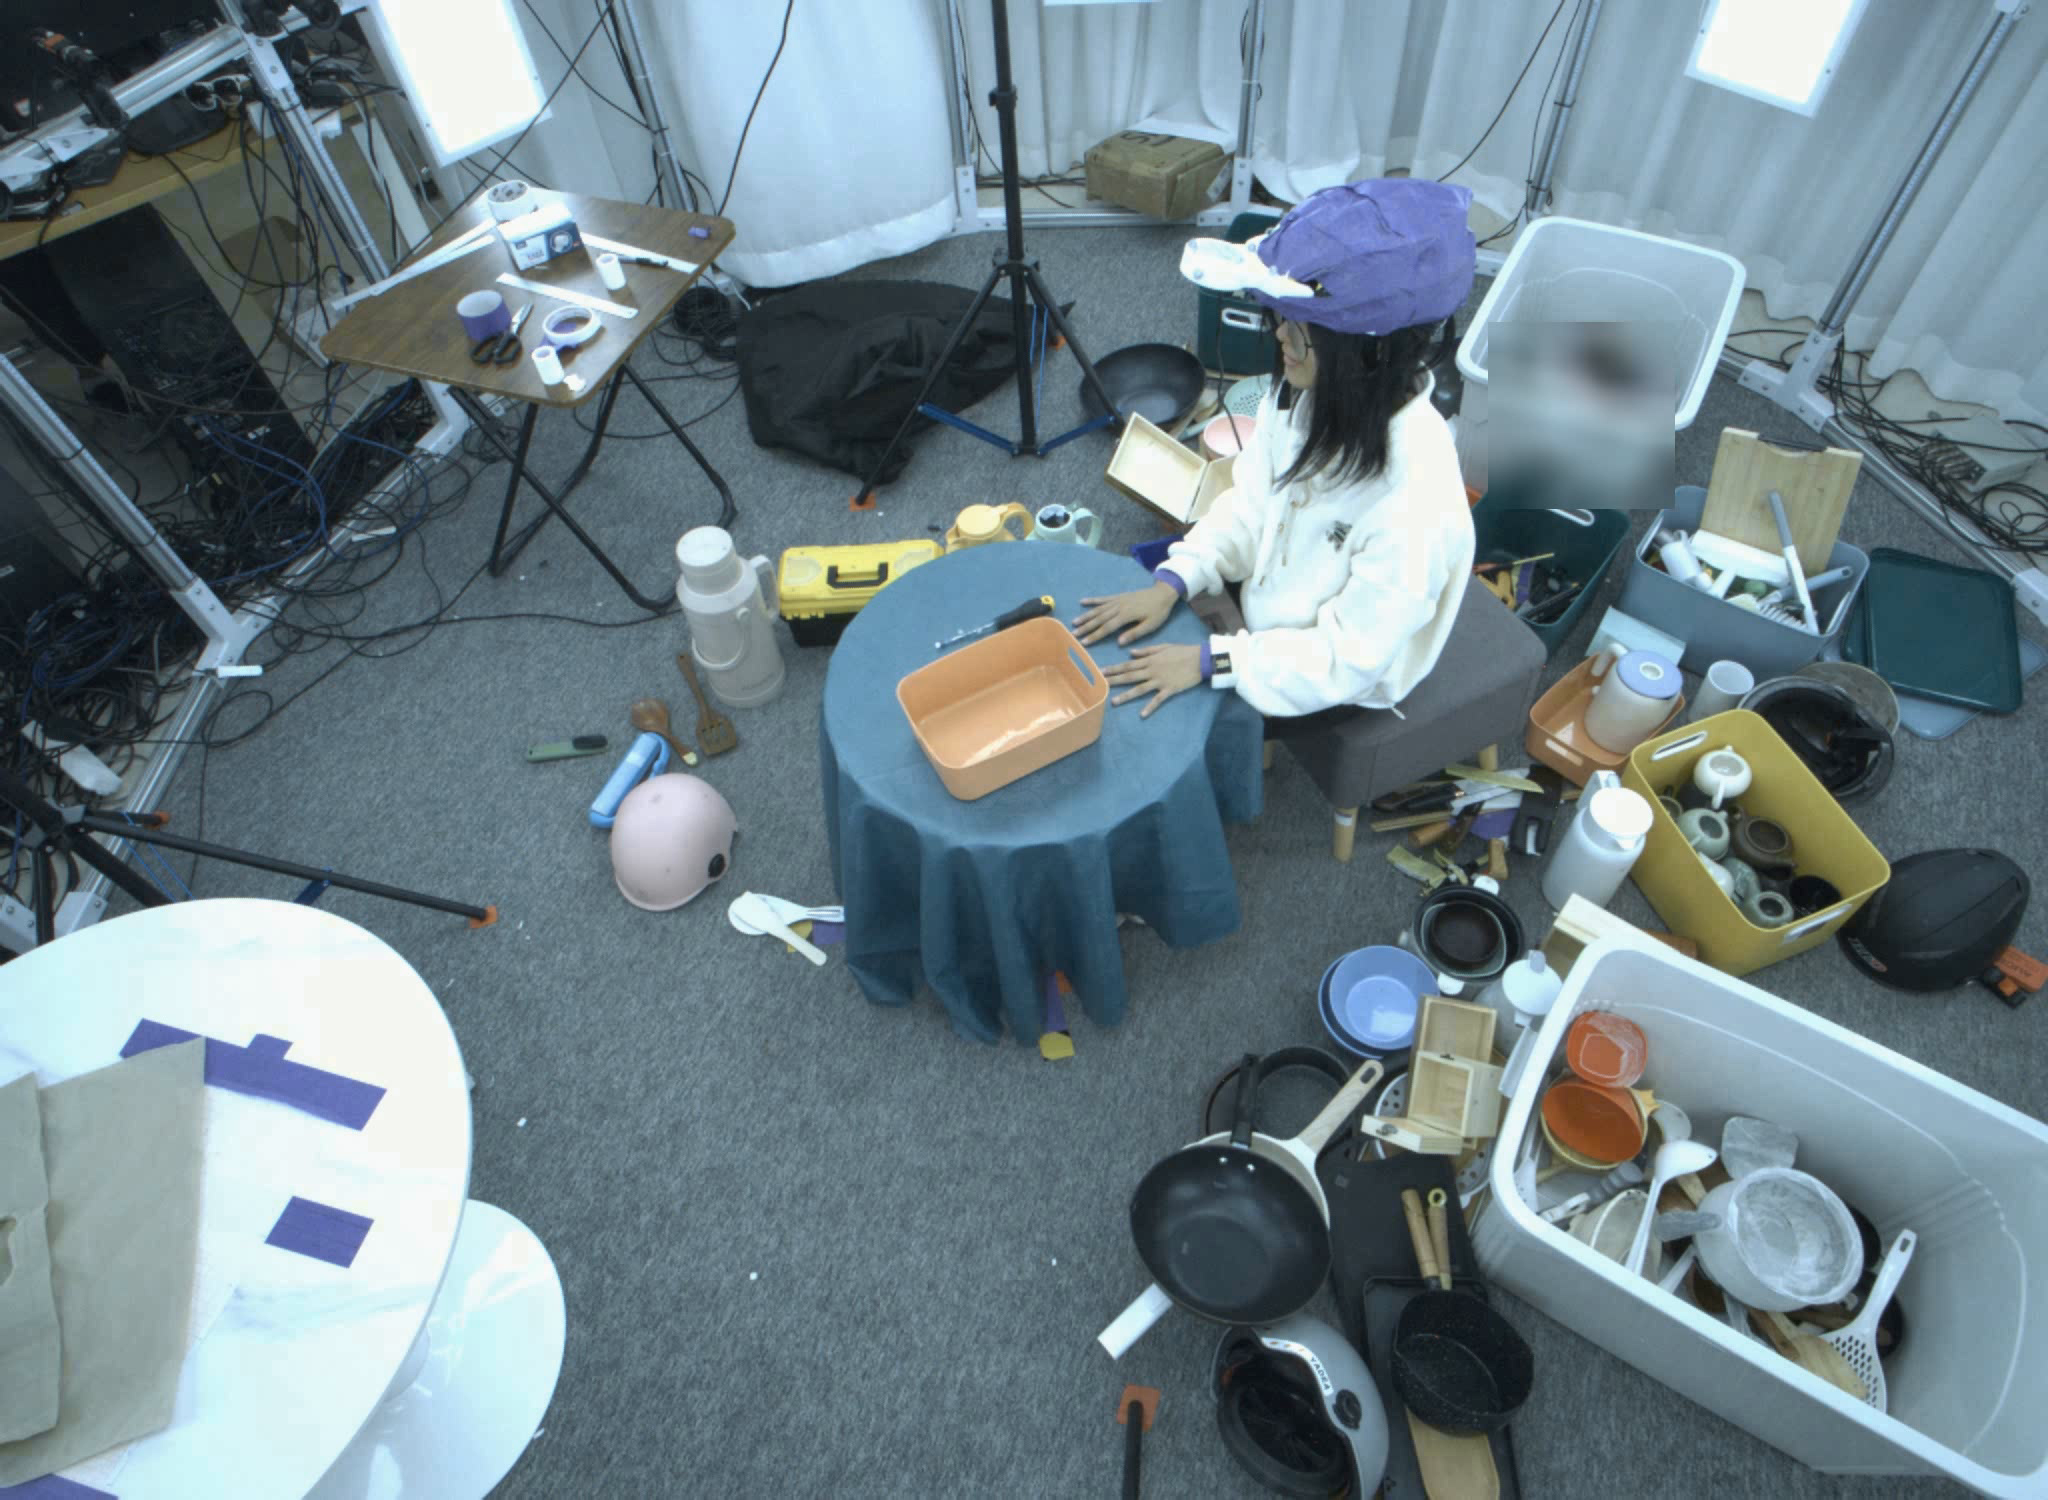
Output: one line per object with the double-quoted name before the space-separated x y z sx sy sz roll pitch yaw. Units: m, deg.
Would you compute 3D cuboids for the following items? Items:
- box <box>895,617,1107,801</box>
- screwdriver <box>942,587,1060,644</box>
"box" -0.028 -0.055 1.764 0.275 0.104 0.195 -26 57 -15
"screwdriver" -0.035 -0.203 1.904 0.198 0.032 0.031 -27 58 -6
